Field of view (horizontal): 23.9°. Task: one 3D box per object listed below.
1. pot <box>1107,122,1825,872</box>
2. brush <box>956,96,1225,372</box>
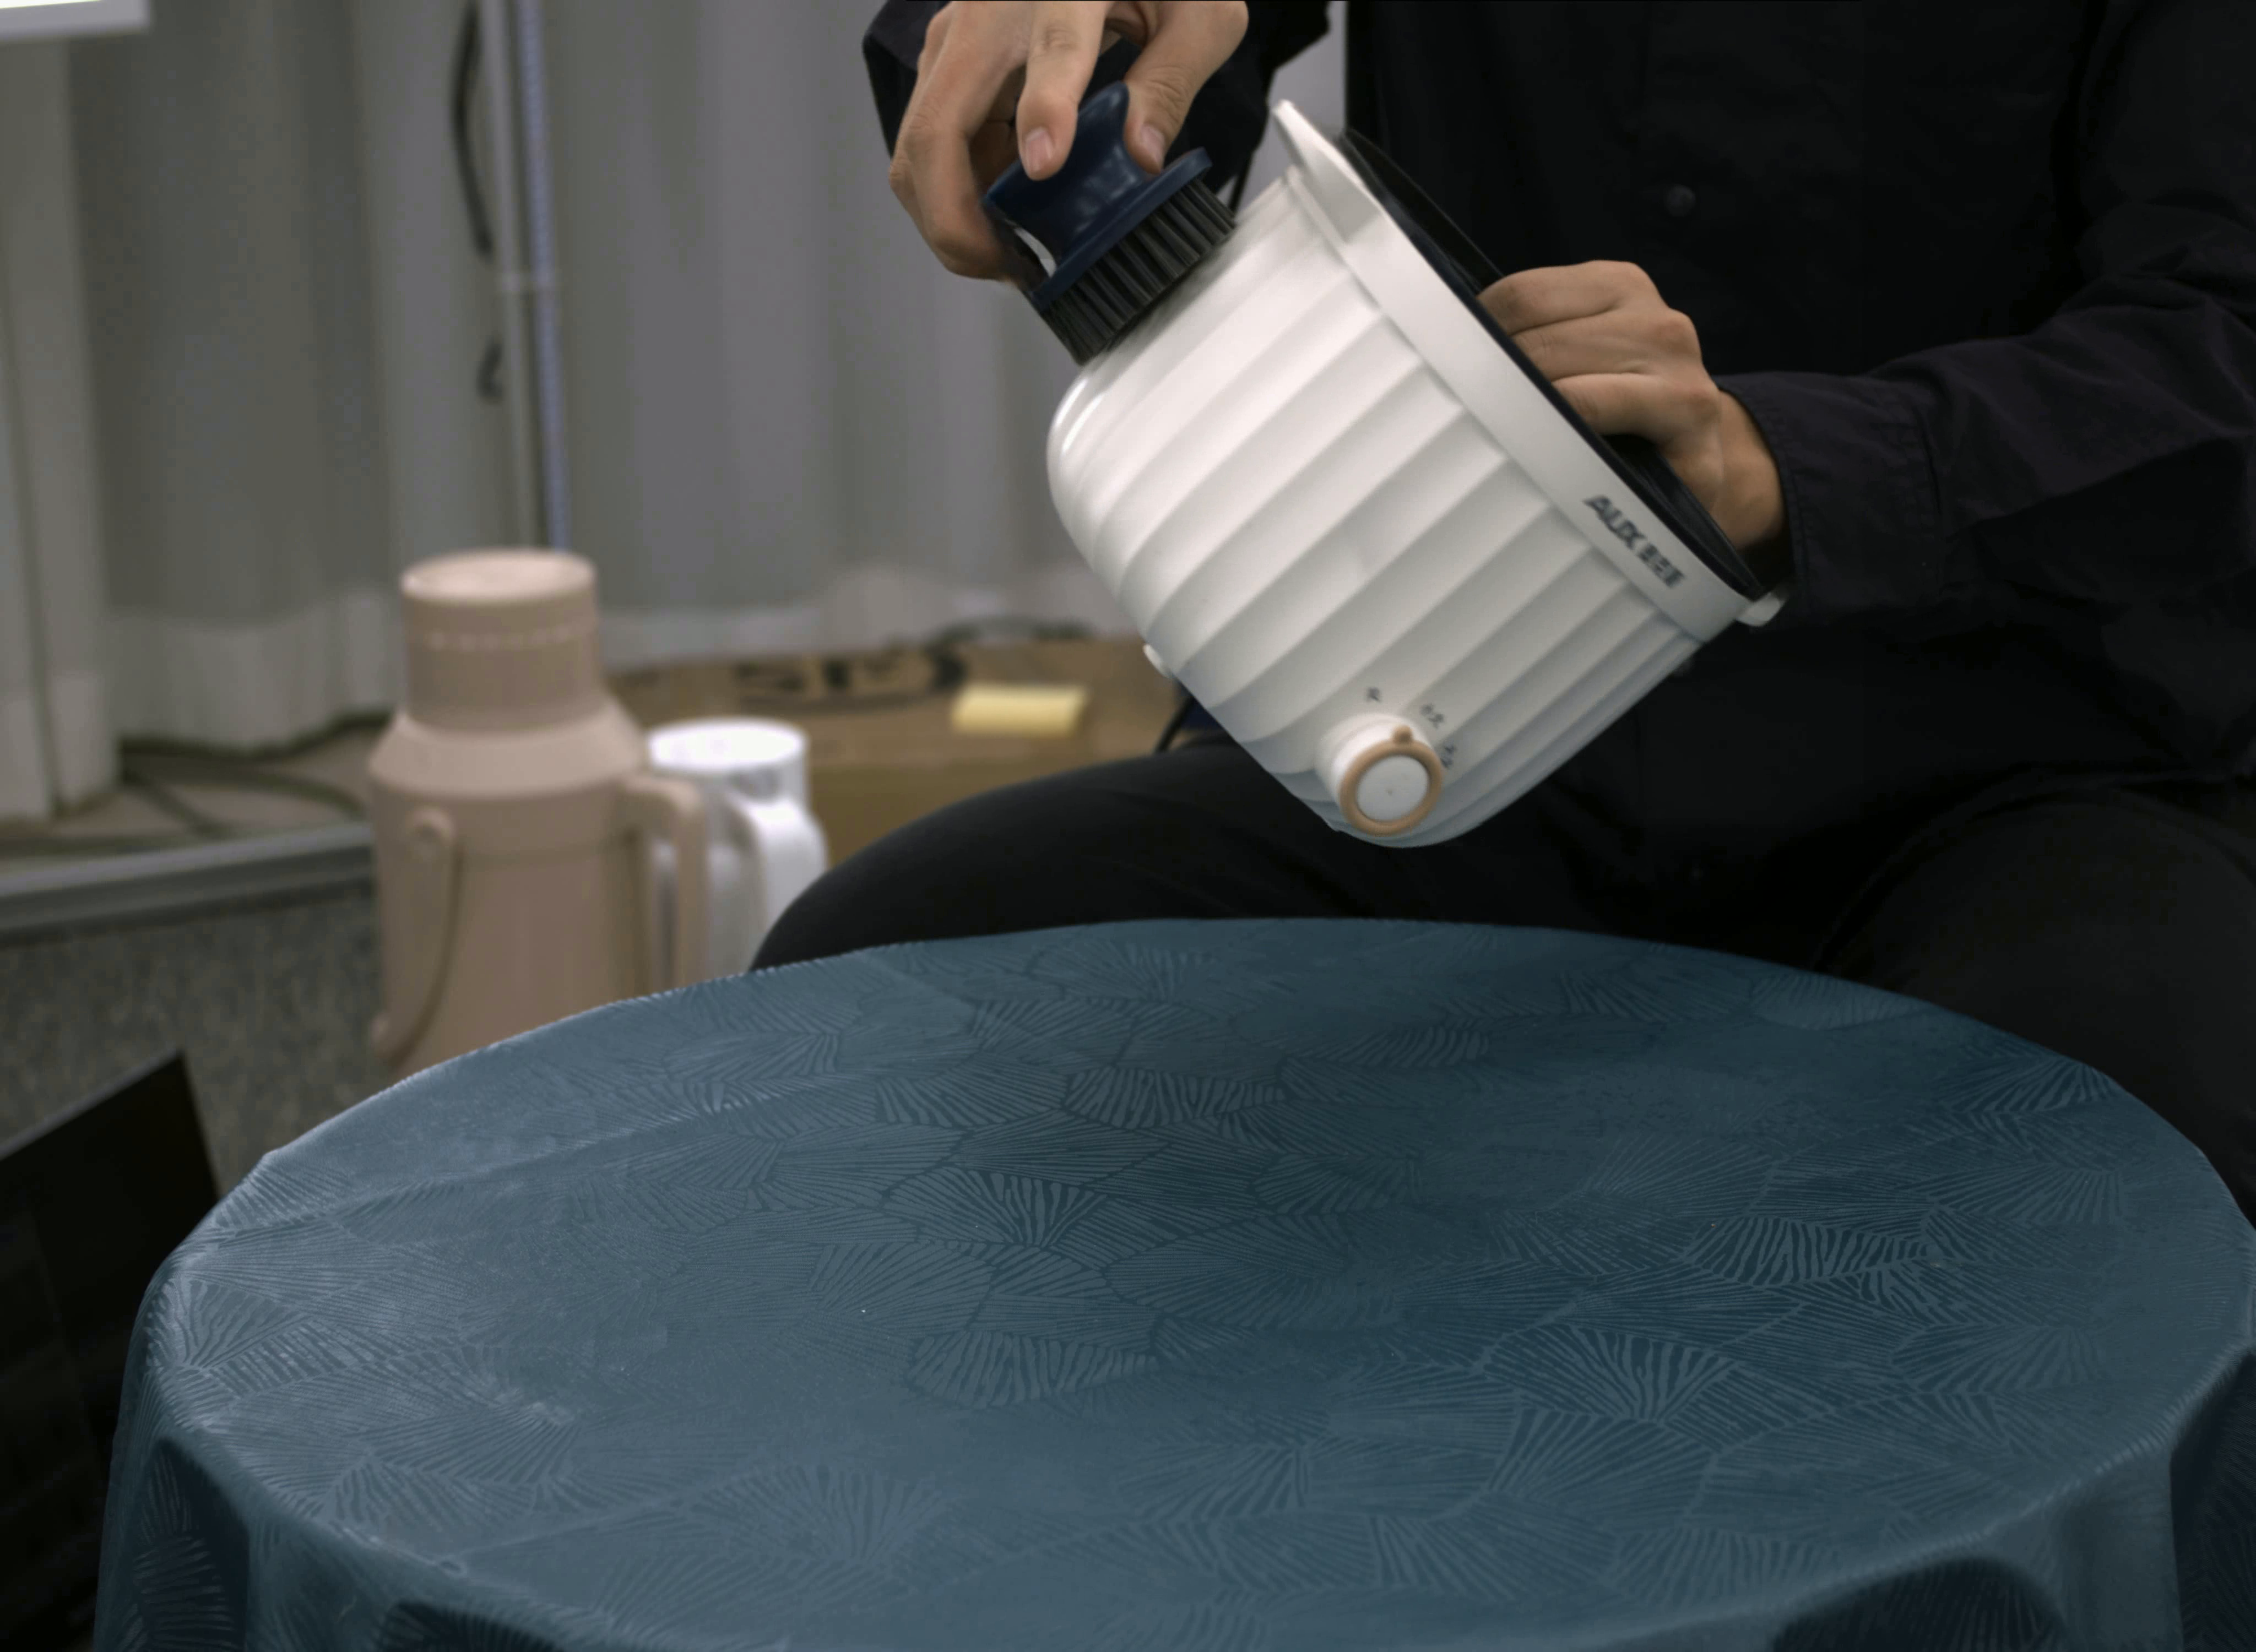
[{"bbox_3d":[0.091,-0.079,1.515,0.143,0.235,0.194,-44,36,8],"label":"pot"},{"bbox_3d":[-0.010,-0.167,1.538,0.068,0.061,0.122,-43,5,1],"label":"brush"}]
